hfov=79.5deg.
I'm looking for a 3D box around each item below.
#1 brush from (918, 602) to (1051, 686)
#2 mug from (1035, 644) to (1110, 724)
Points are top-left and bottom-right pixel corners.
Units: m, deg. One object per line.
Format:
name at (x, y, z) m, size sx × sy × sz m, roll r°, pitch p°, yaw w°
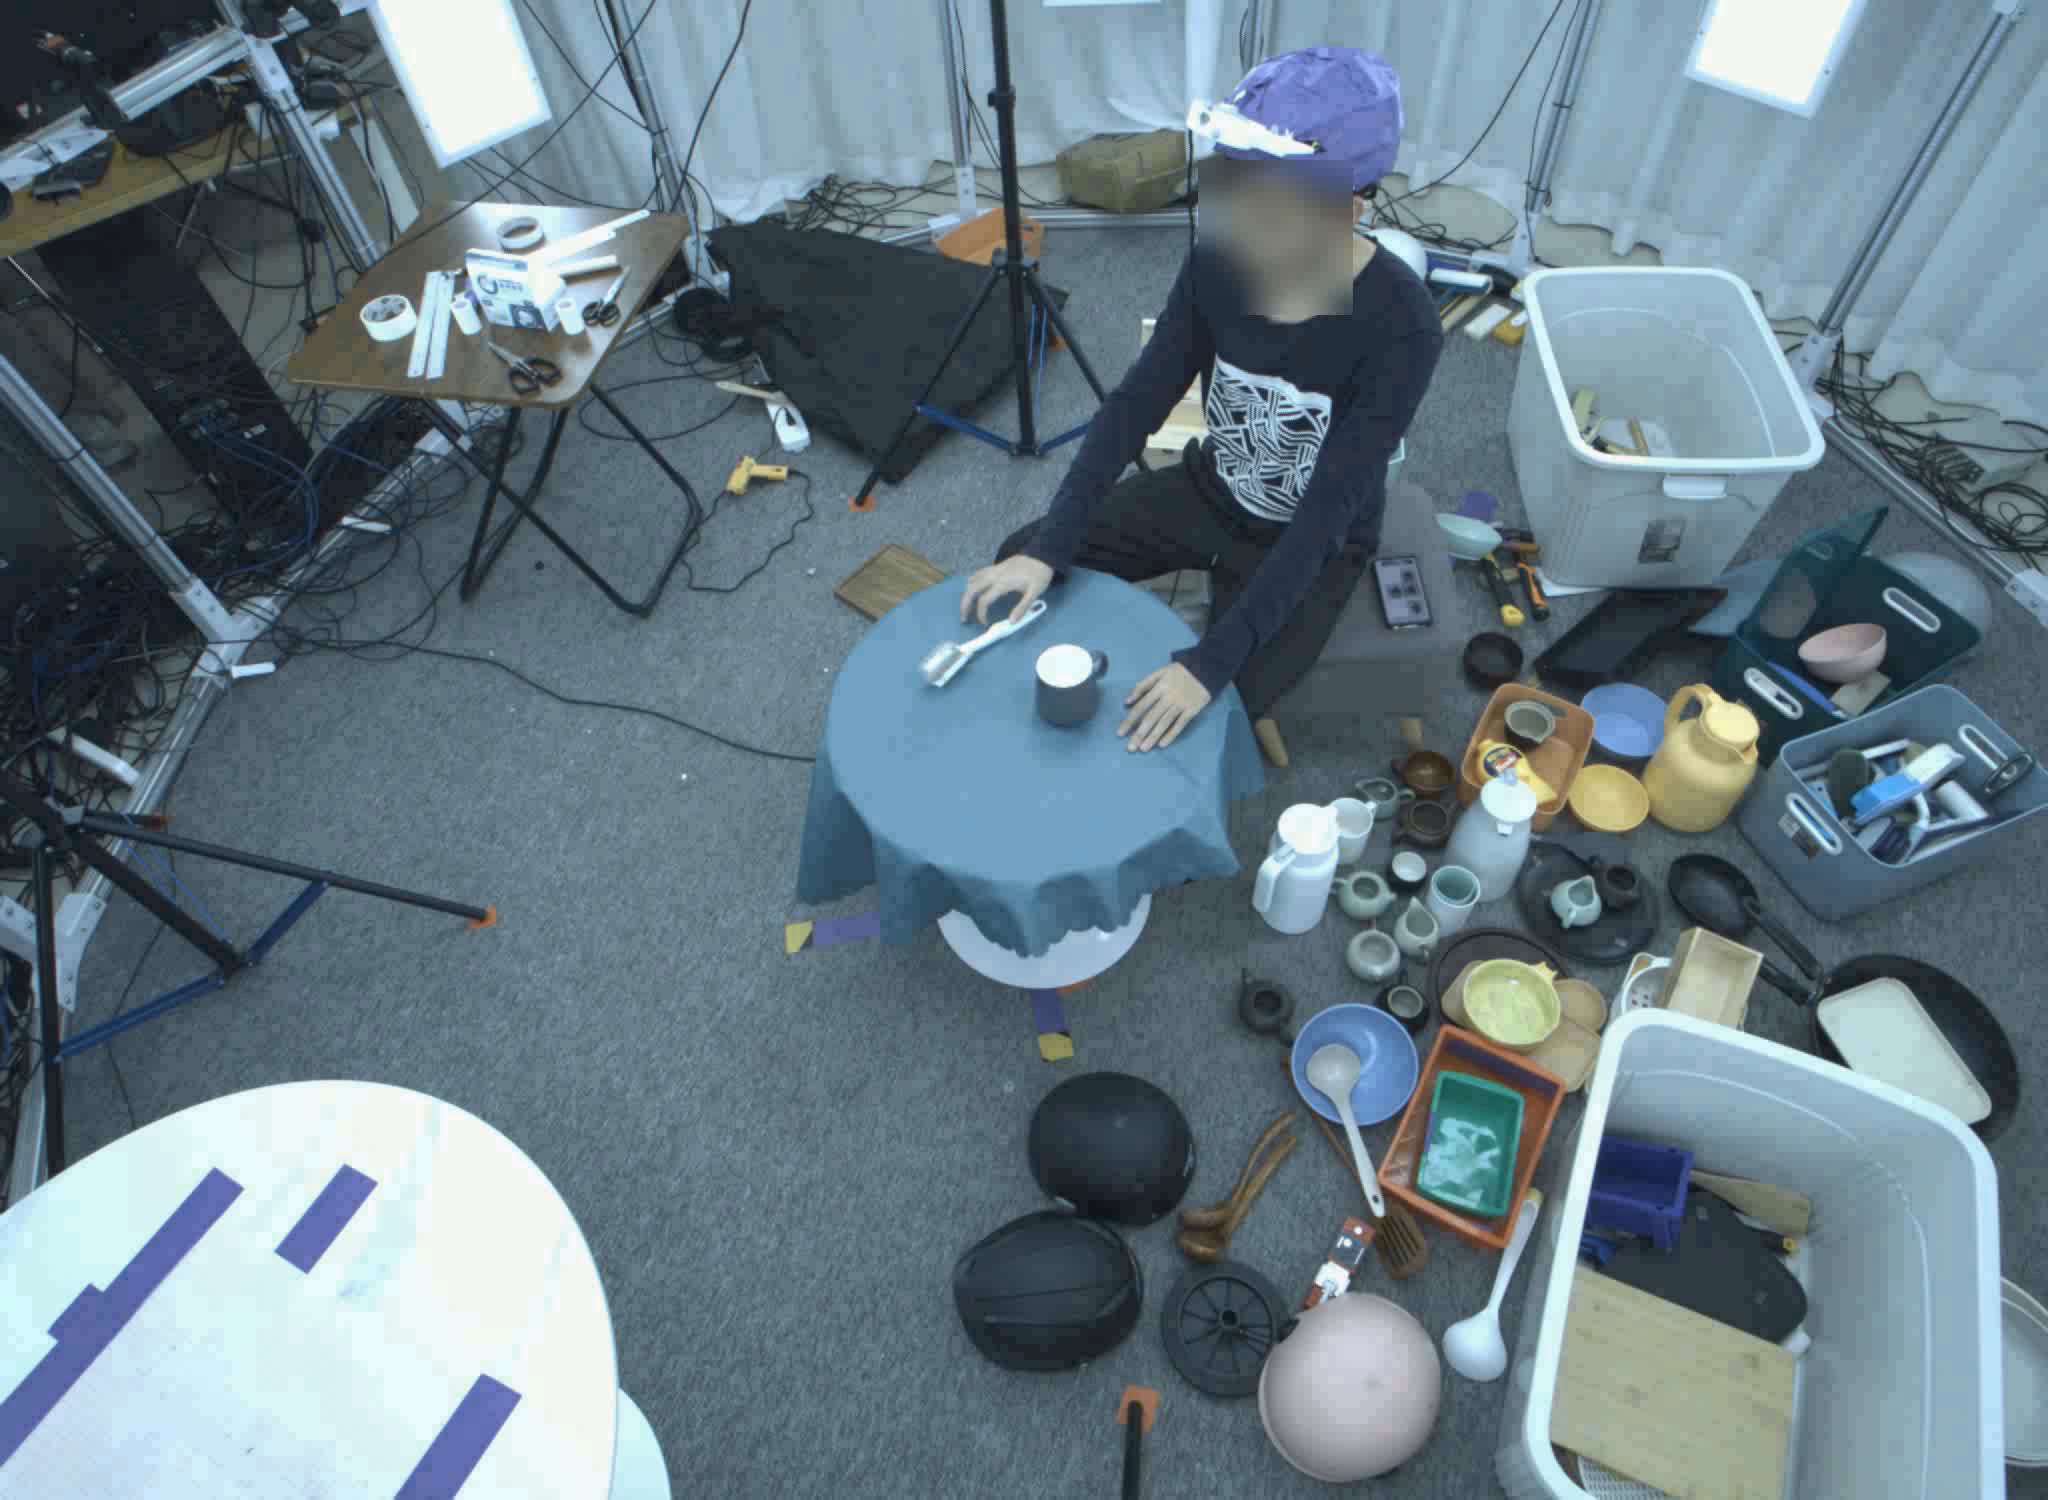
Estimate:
brush at (-0.058, -0.176, 1.878) m, size 0.245 × 0.051 × 0.033 m, roll -34°, pitch 55°, yaw -20°
mug at (0.073, -0.103, 1.792) m, size 0.124 × 0.091 × 0.092 m, roll -31°, pitch 60°, yaw -17°
